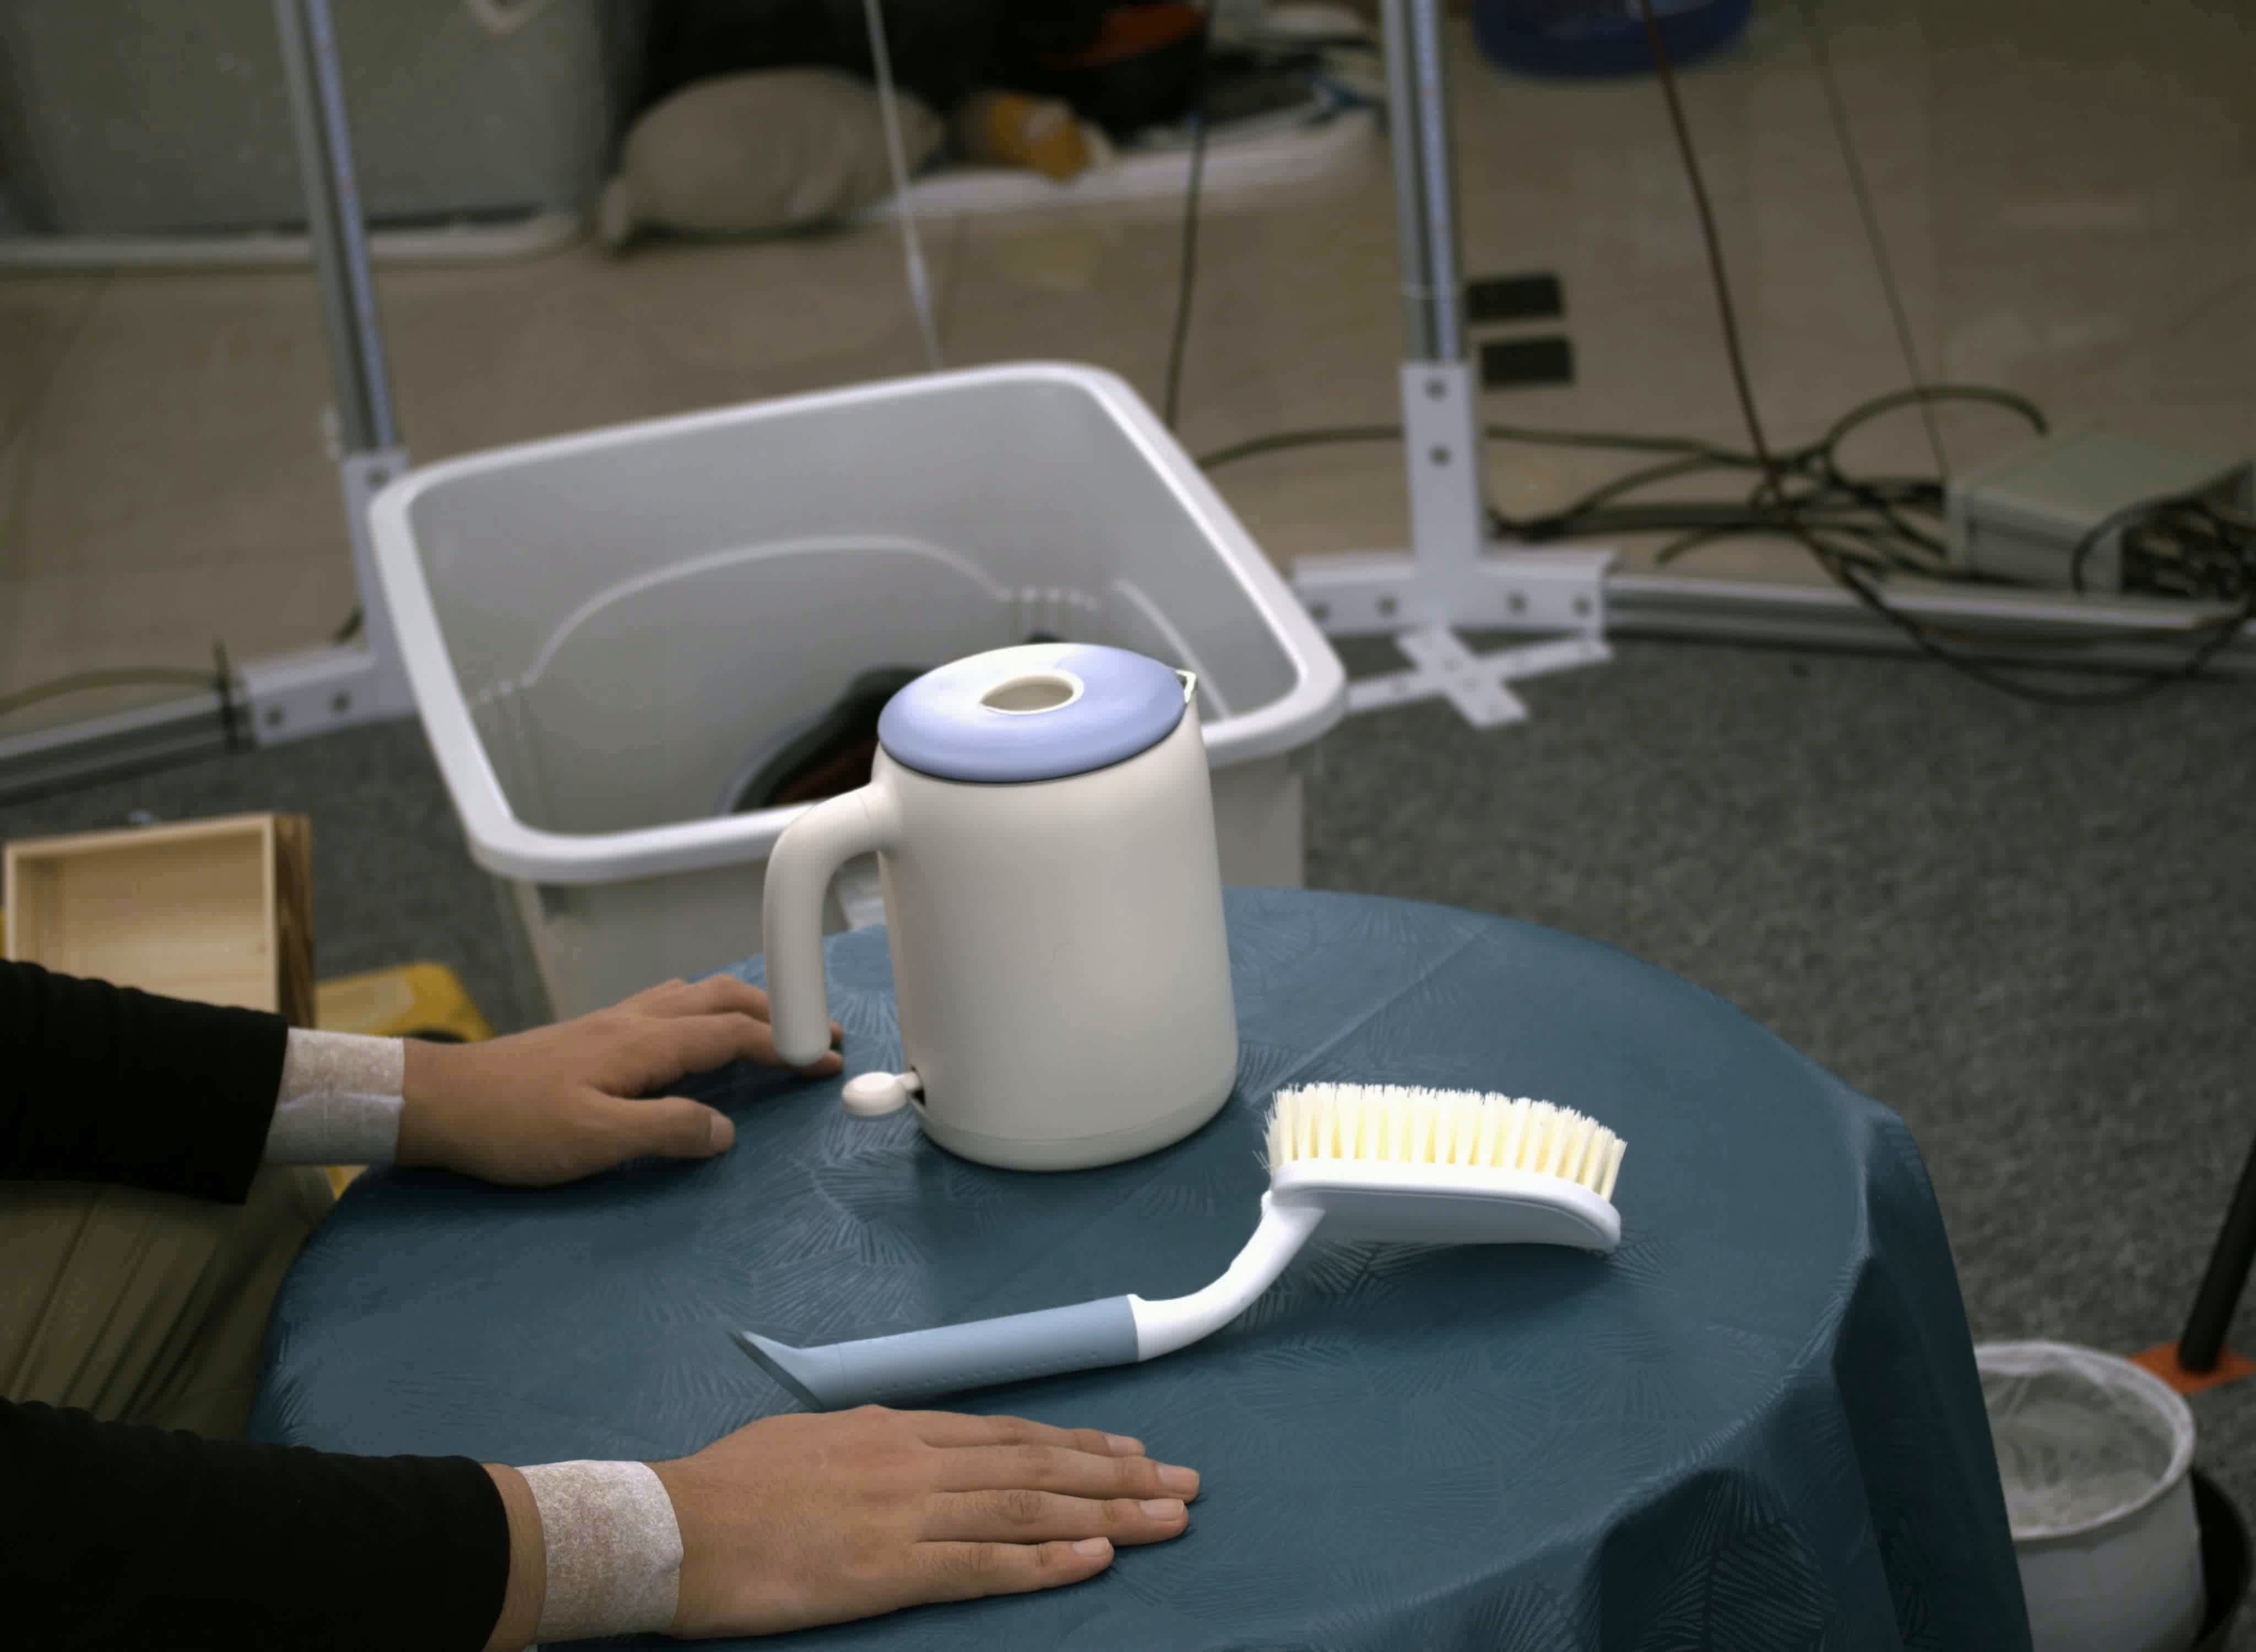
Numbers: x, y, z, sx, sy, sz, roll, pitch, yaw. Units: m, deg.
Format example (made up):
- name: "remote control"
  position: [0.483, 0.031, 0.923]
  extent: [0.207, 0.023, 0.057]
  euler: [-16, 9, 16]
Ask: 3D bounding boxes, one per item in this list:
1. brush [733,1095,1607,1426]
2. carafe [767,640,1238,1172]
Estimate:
- name: "brush"
  position: [0.014, 0.141, 2.042]
  extent: [0.325, 0.084, 0.083]
  euler: [-9, 32, -8]
- name: "carafe"
  position: [-0.051, 0.037, 2.173]
  extent: [0.190, 0.185, 0.130]
  euler: [-18, 27, -20]
